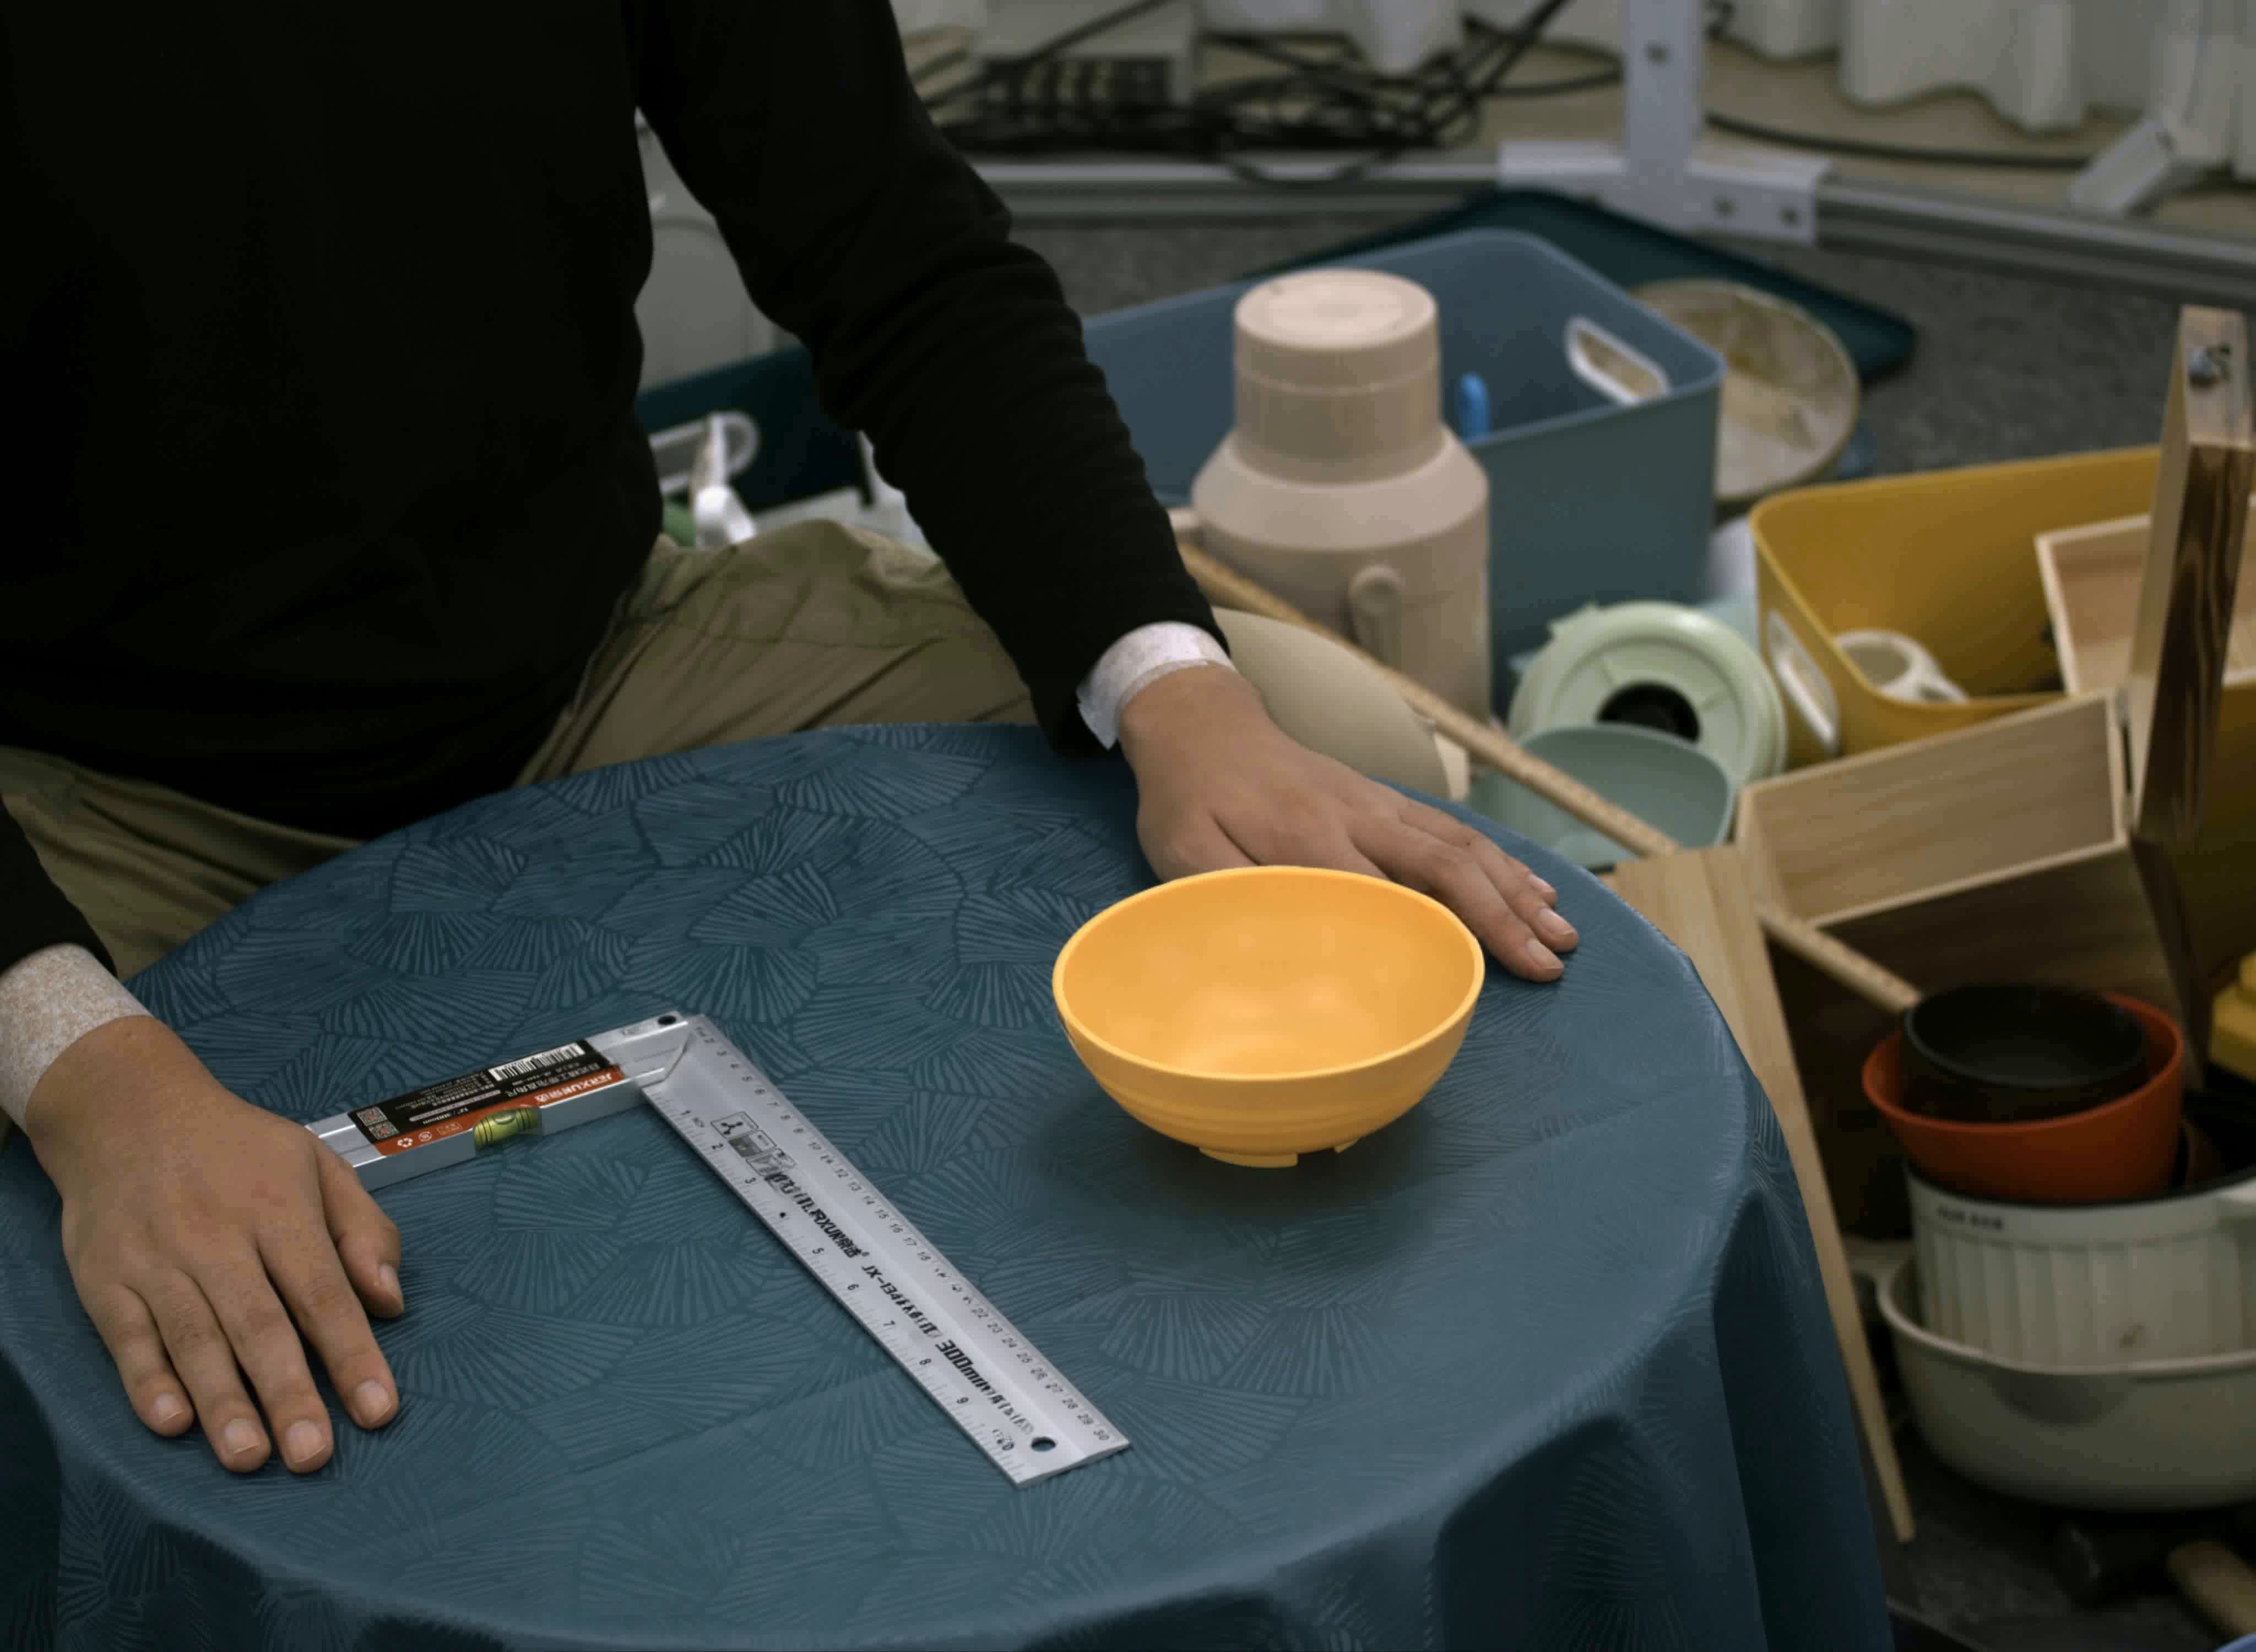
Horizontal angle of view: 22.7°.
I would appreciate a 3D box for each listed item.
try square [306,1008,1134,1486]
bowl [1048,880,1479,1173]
[{"bbox_3d":[-0.139,0.150,1.818,0.153,0.016,0.314,-20,33,-23],"label":"try square"},{"bbox_3d":[0.046,0.075,1.887,0.144,0.059,0.147,-1,24,1],"label":"bowl"}]
